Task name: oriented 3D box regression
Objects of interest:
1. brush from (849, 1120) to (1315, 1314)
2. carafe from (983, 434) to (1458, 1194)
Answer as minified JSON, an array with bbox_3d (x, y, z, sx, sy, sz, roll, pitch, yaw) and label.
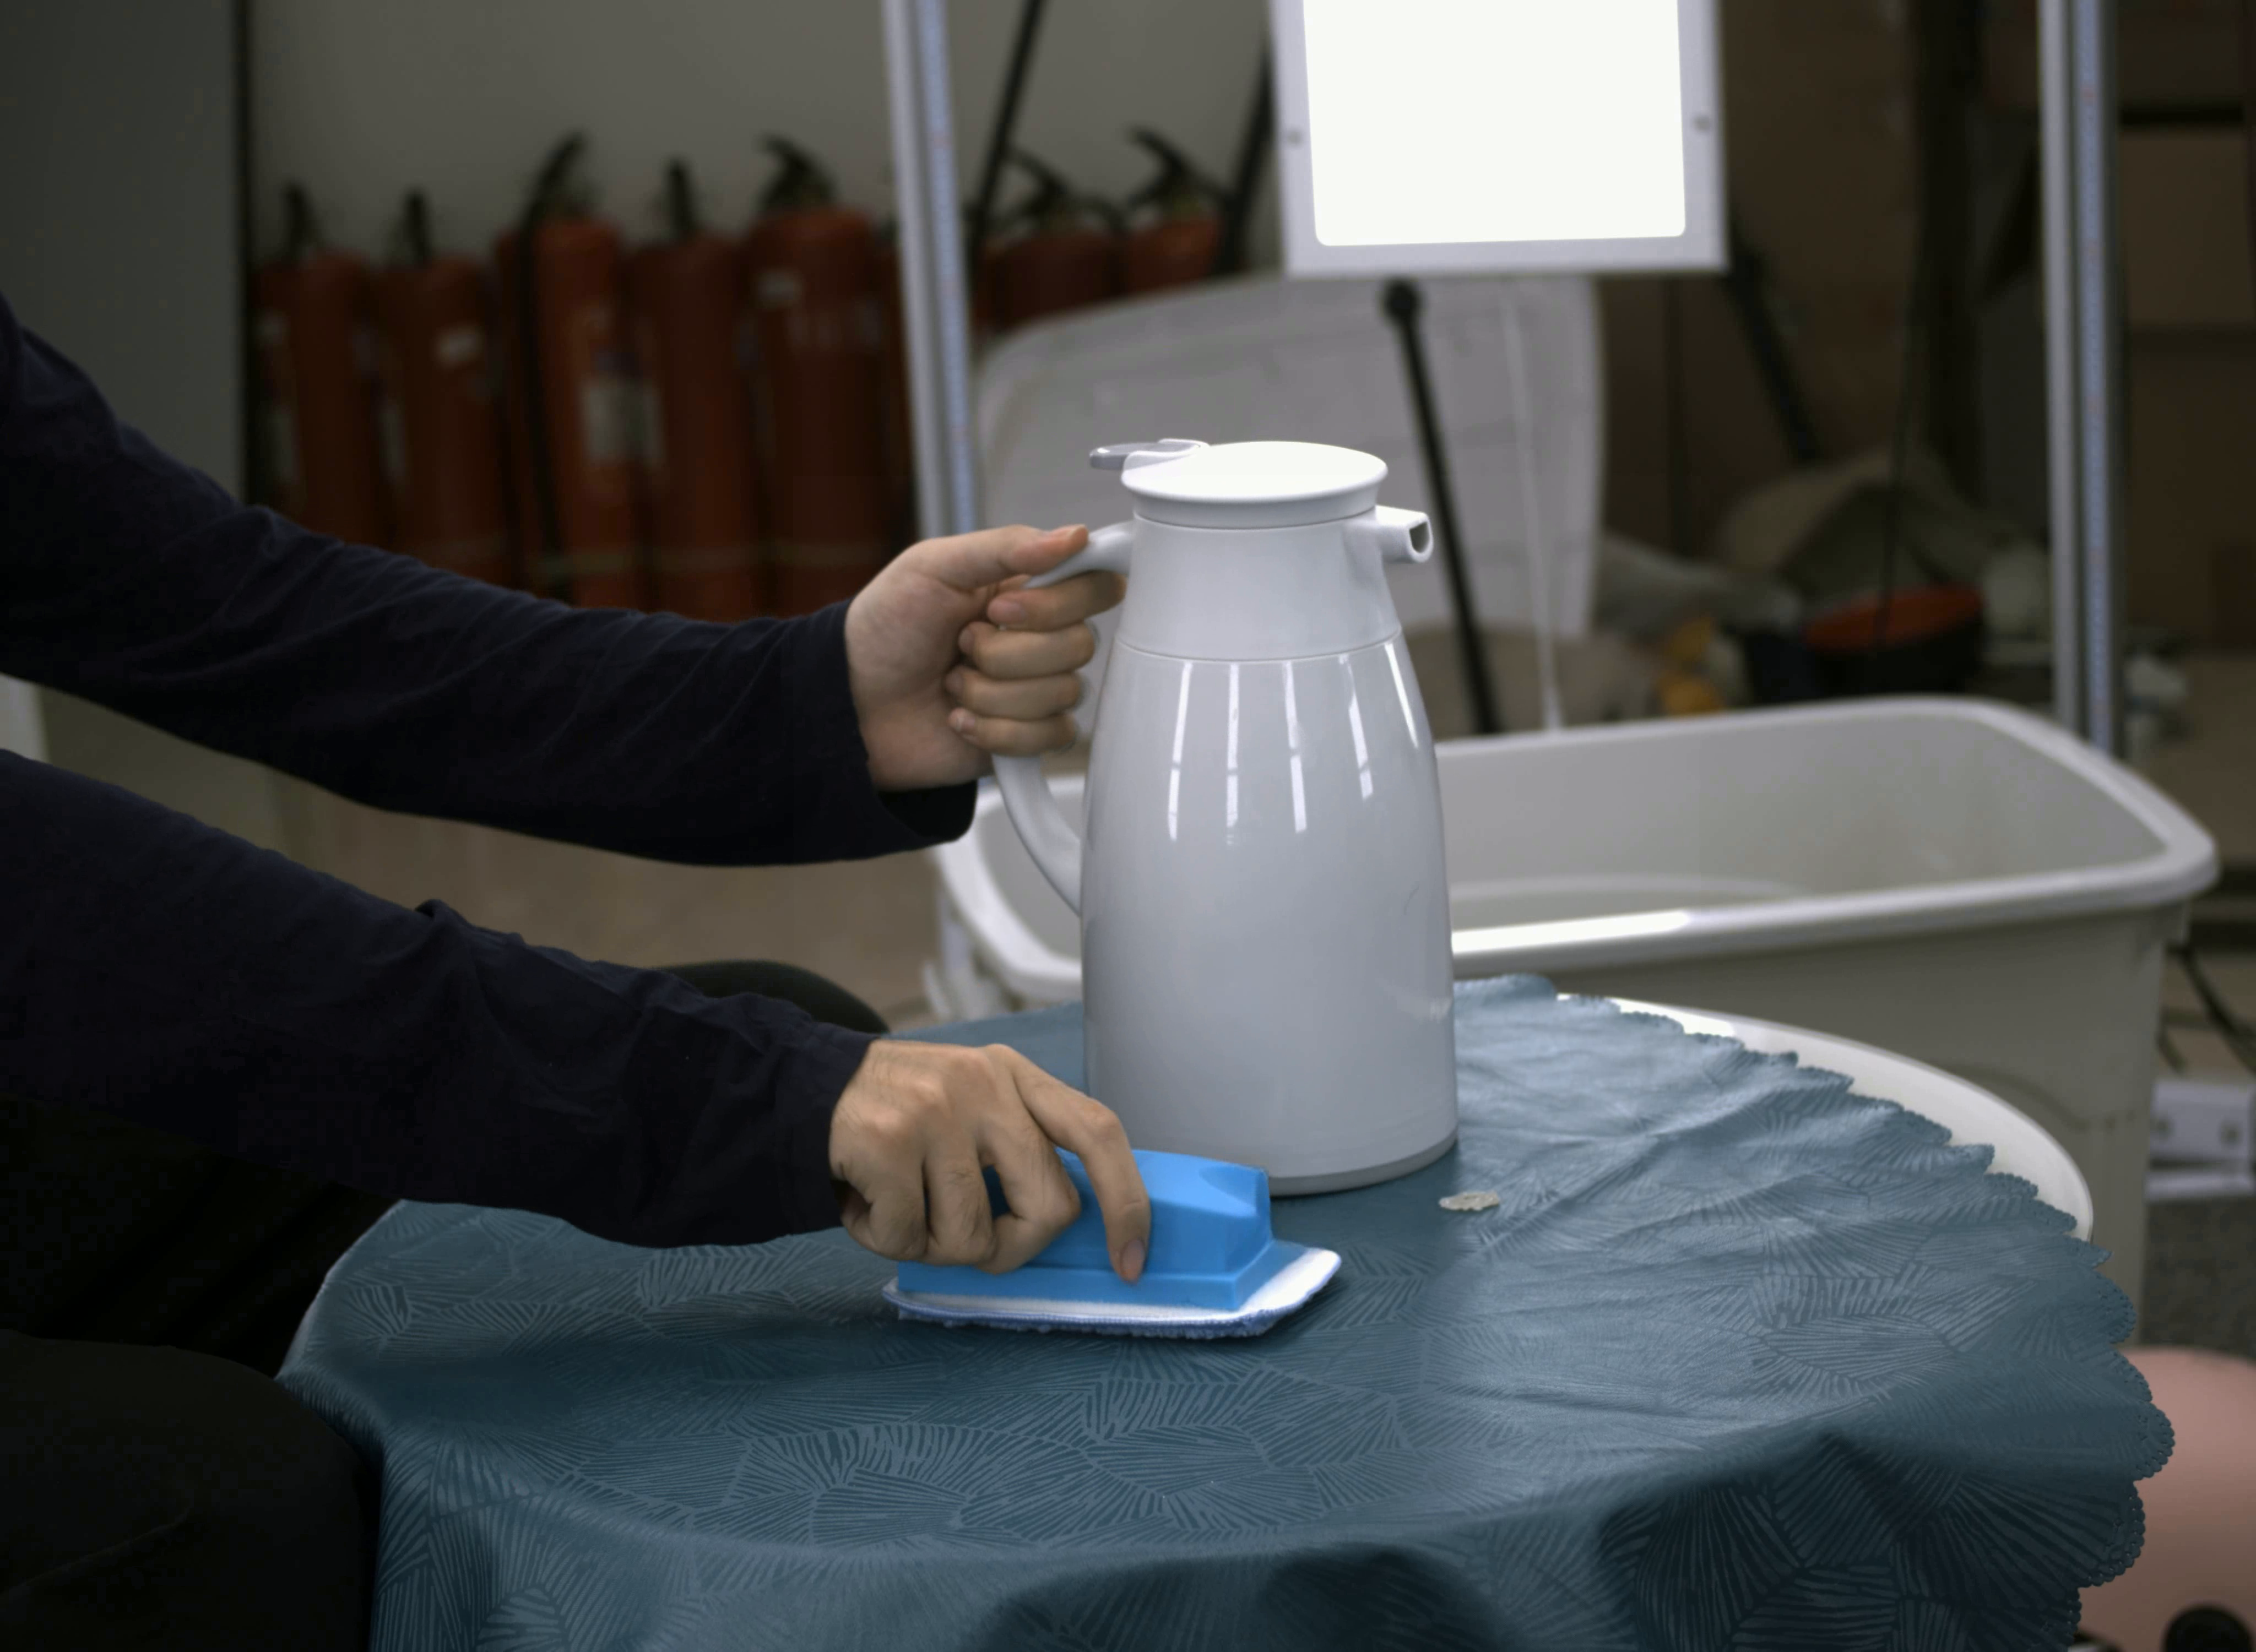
[{"bbox_3d":[-0.015,0.126,1.780,0.146,0.056,0.082,4,12,27],"label":"brush"},{"bbox_3d":[0.029,-0.011,1.912,0.170,0.249,0.130,4,16,26],"label":"carafe"}]
